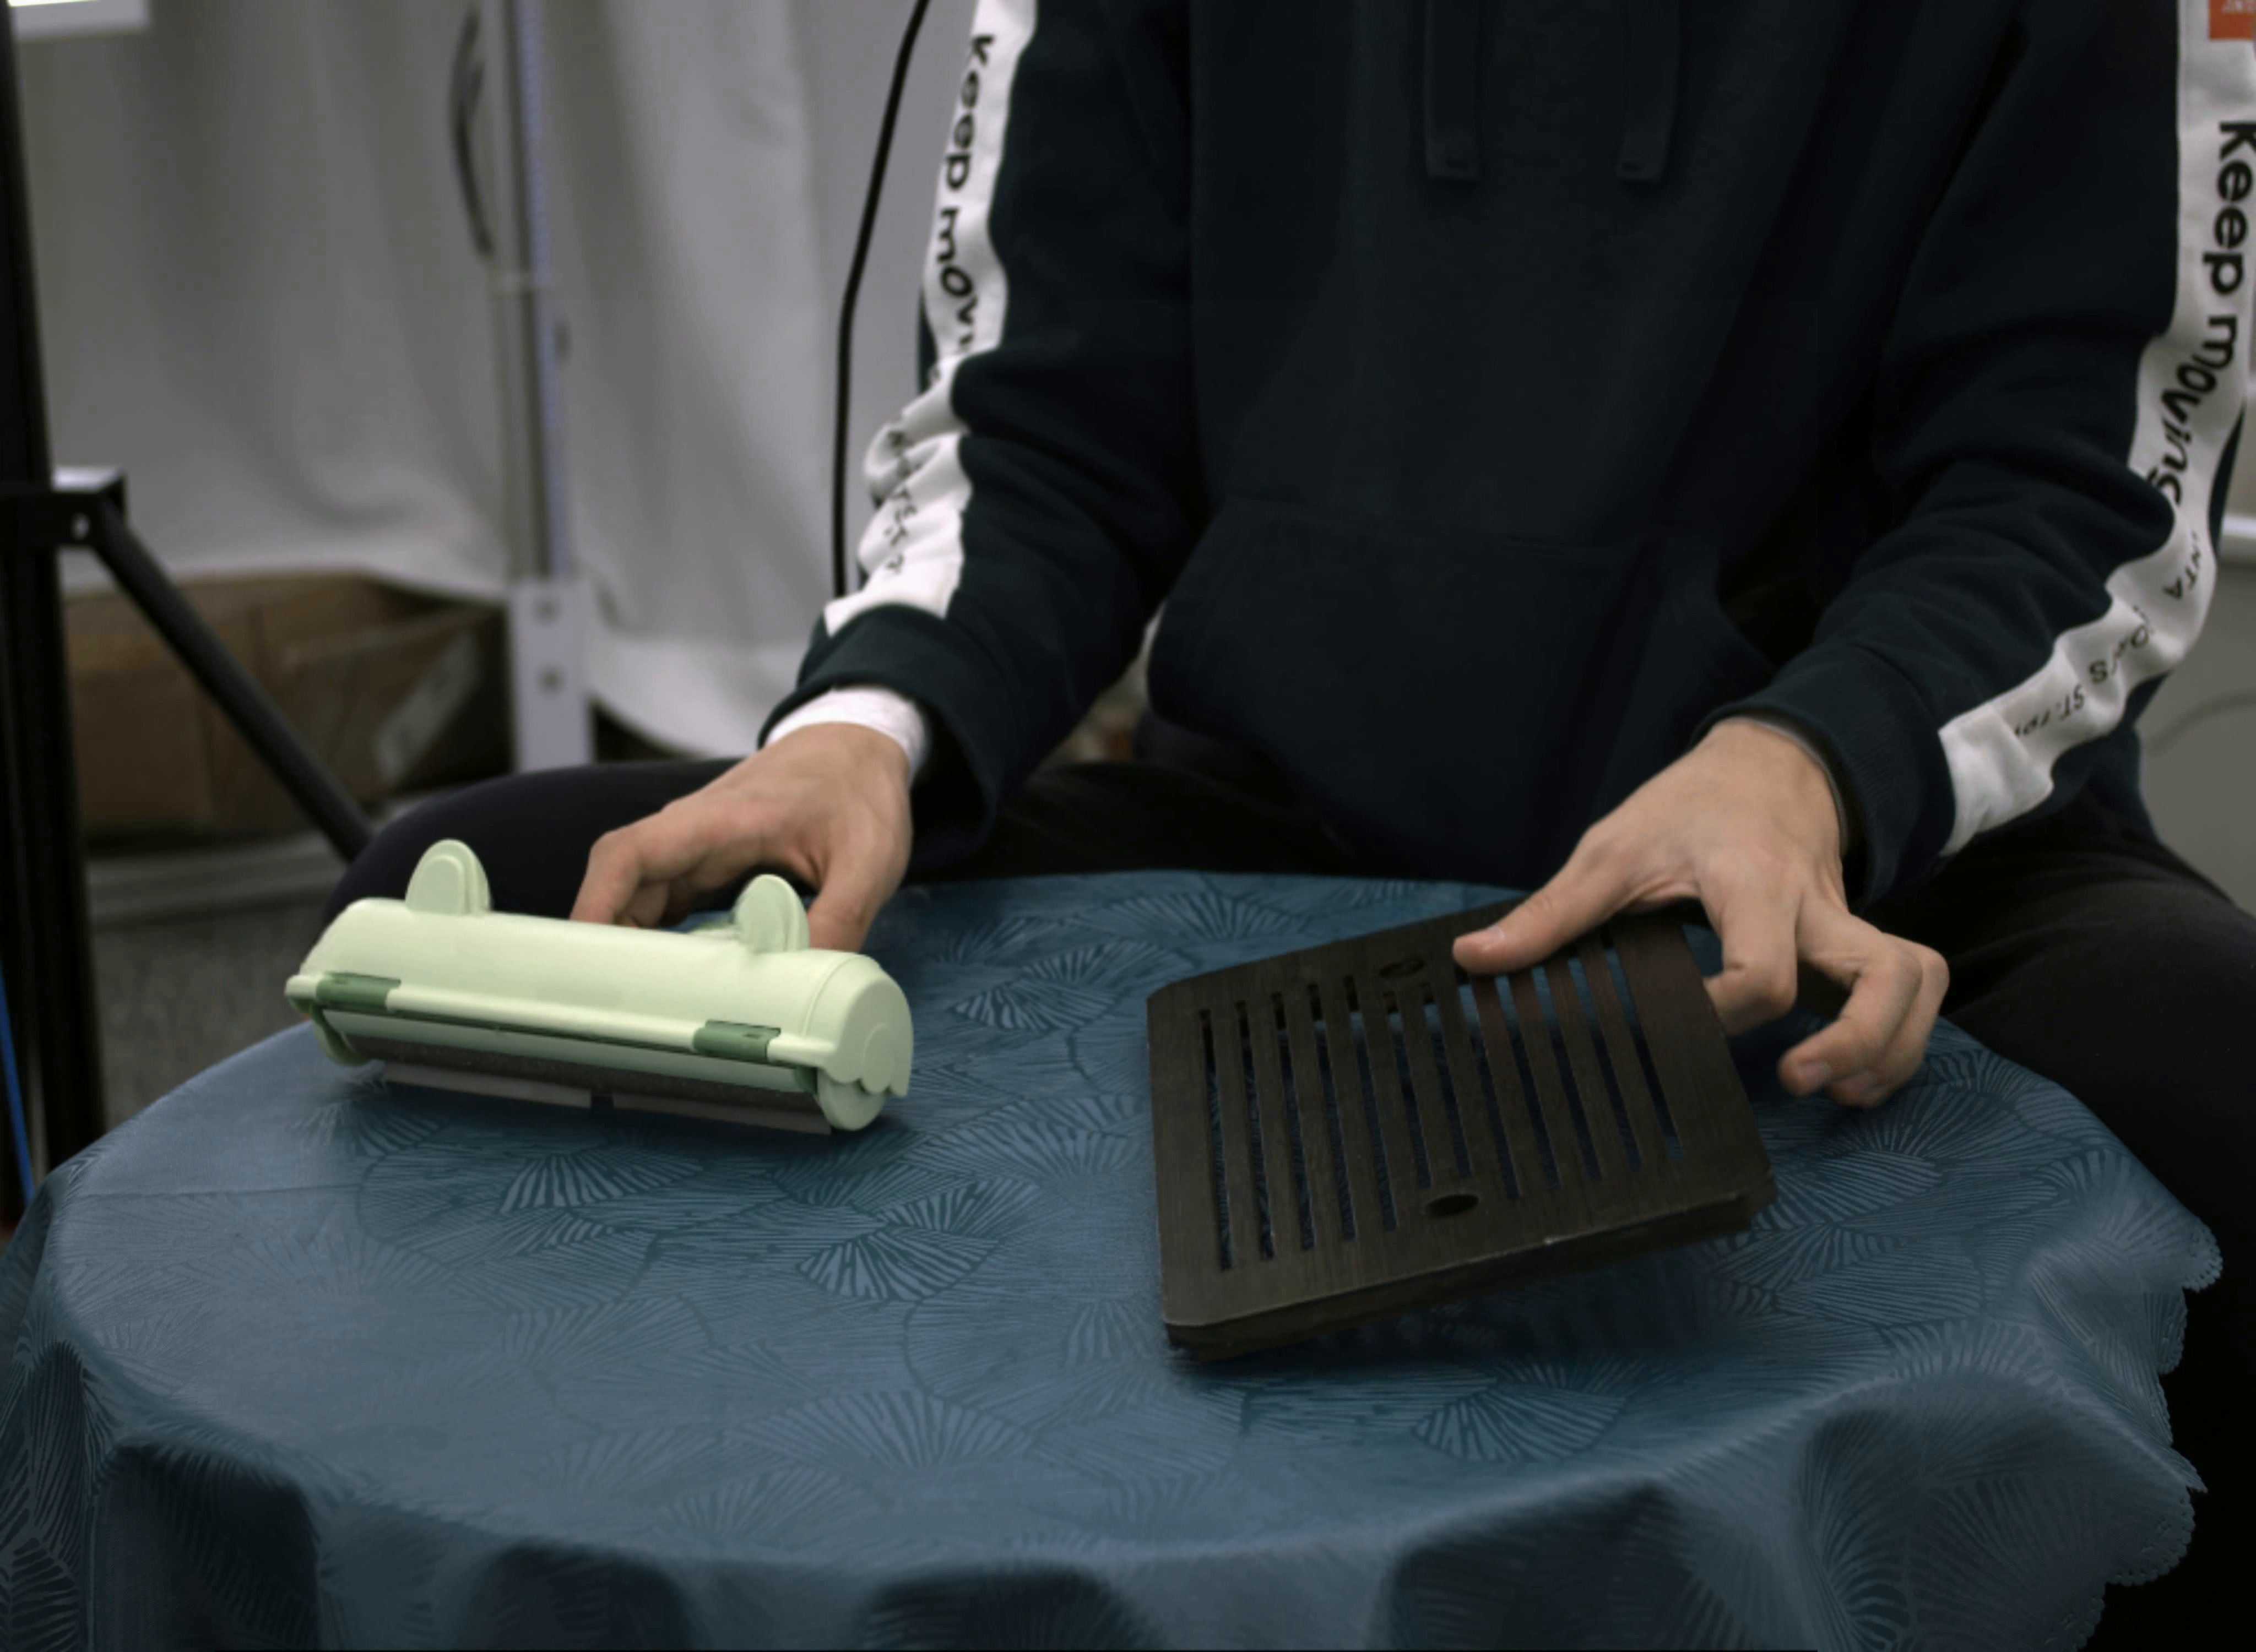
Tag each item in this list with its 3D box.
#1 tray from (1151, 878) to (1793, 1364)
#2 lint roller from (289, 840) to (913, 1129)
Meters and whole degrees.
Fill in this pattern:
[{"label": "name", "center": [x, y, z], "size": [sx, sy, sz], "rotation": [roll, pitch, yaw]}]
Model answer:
[{"label": "tray", "center": [0.093, 0.082, 1.546], "size": [0.170, 0.018, 0.307], "rotation": [-13, 15, 4]}, {"label": "lint roller", "center": [-0.139, 0.034, 1.696], "size": [0.202, 0.082, 0.180], "rotation": [5, 21, 28]}]
